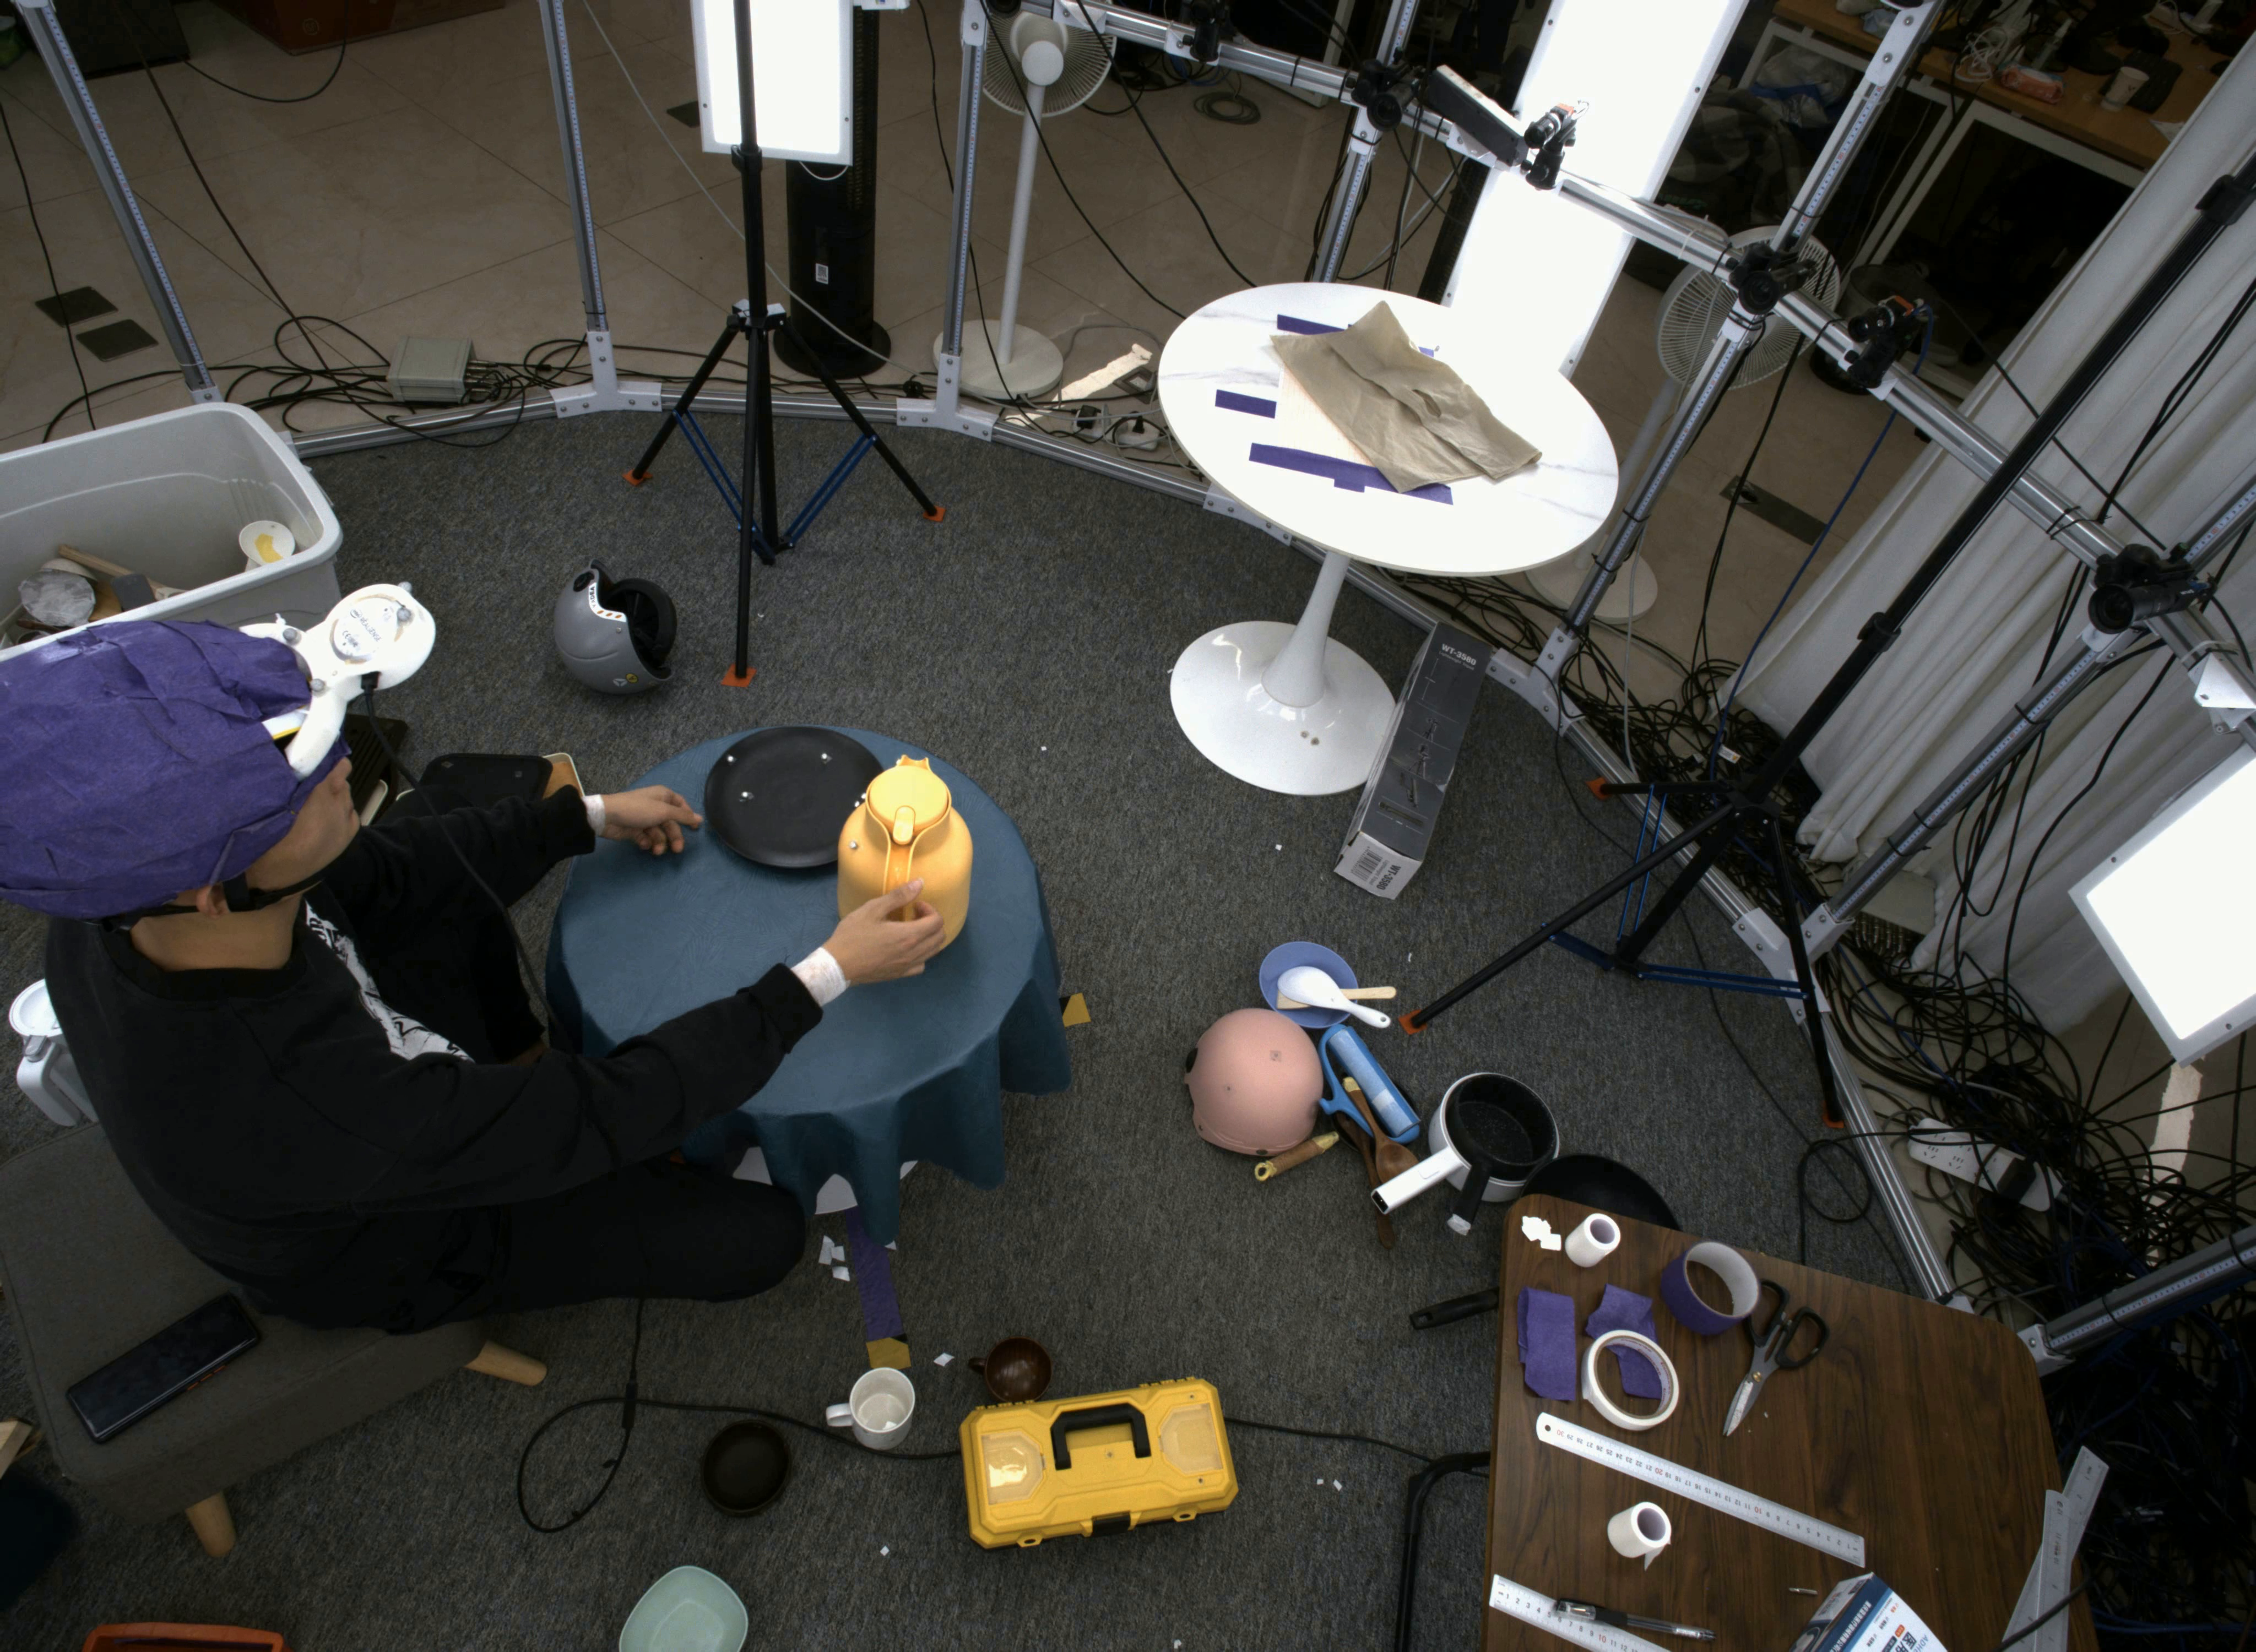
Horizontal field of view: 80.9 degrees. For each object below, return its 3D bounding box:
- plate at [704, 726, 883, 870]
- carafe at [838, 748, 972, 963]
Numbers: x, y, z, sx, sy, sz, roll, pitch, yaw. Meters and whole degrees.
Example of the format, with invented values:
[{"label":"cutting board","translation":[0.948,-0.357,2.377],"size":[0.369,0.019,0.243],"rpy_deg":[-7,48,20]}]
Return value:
[{"label":"plate","translation":[-0.440,-0.037,1.730],"size":[0.244,0.024,0.240],"rpy_deg":[8,52,-9]},{"label":"carafe","translation":[-0.271,0.049,1.555],"size":[0.162,0.267,0.199],"rpy_deg":[6,50,-4]}]
